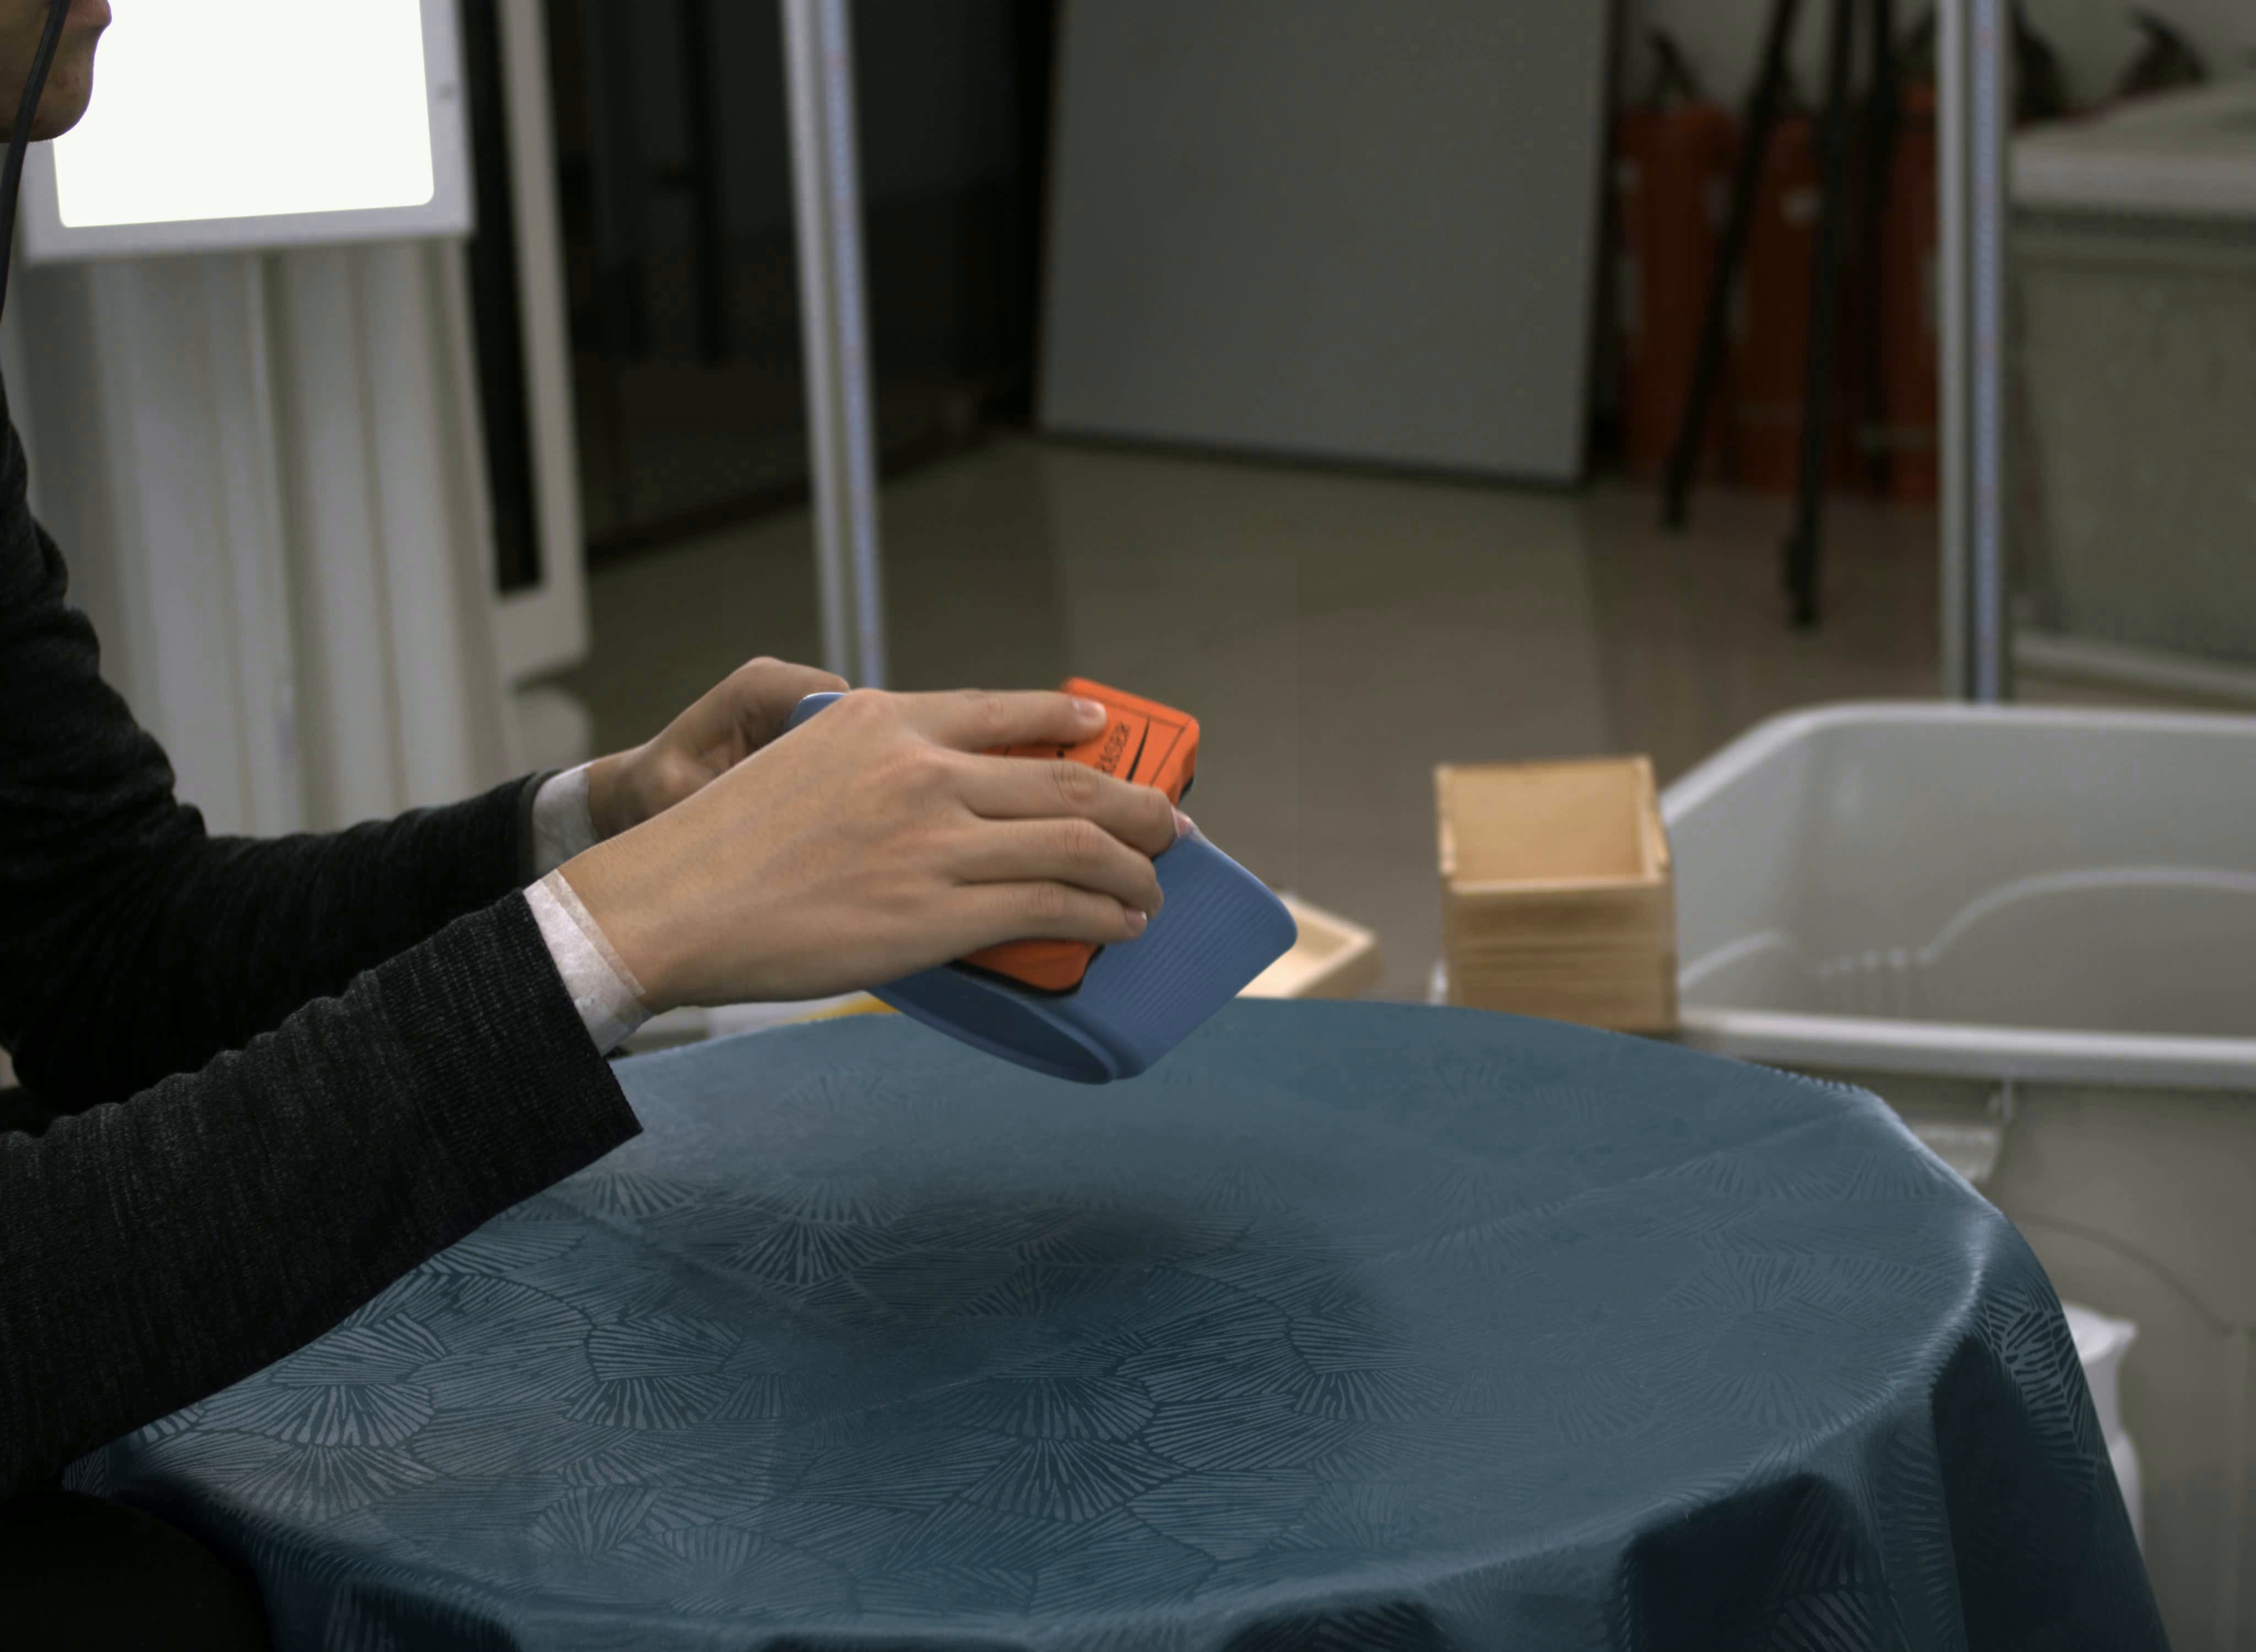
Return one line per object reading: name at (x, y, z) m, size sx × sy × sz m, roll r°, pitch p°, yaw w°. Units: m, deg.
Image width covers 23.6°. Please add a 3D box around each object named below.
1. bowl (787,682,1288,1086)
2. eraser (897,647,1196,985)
bowl at (-0.041, 0.026, 1.699) m, size 0.175 × 0.070 × 0.176 m, roll 25°, pitch -13°, yaw 5°
eraser at (-0.023, -0.004, 1.585) m, size 0.059 × 0.023 × 0.108 m, roll 19°, pitch 50°, yaw 12°
